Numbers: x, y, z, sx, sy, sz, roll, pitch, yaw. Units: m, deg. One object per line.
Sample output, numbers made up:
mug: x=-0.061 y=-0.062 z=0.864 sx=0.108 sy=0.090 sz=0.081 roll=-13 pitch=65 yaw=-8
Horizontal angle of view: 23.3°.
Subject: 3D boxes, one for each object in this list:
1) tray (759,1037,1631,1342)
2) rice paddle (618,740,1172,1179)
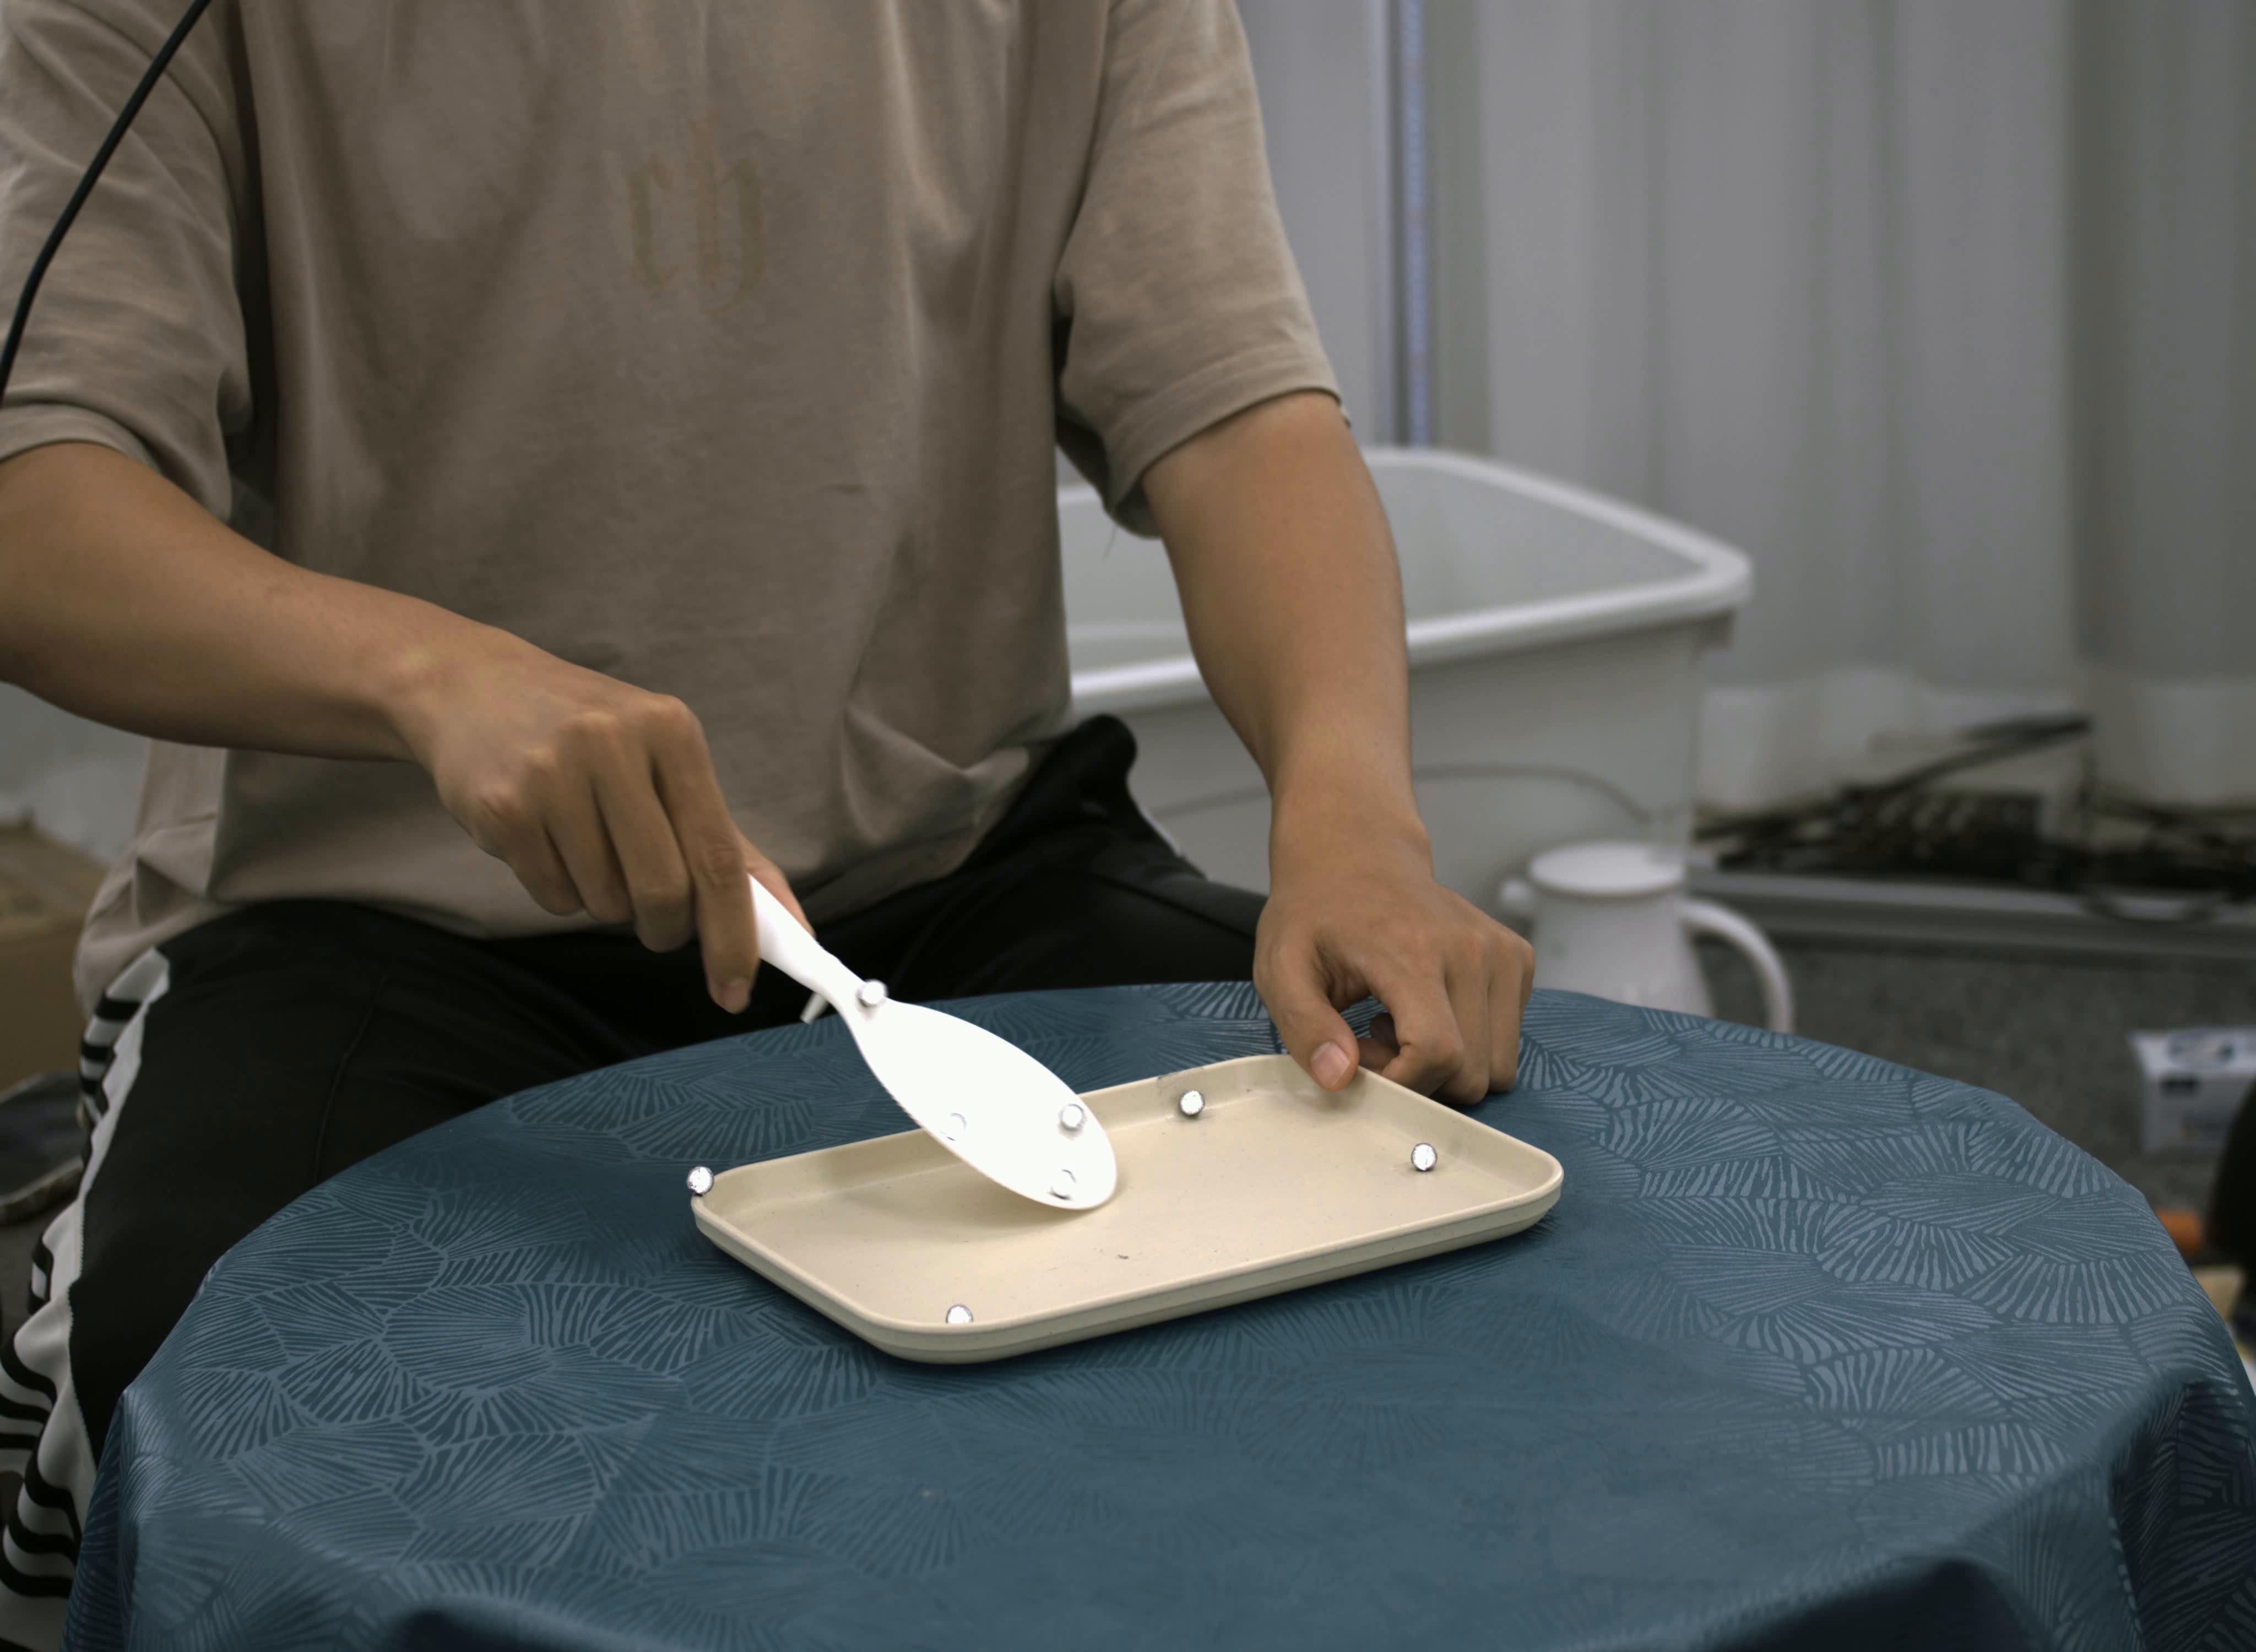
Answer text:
tray: x=0.020 y=0.111 z=1.675 sx=0.238 sy=0.017 sz=0.172 roll=-10 pitch=17 yaw=-28
rice paddle: x=-0.069 y=0.044 z=1.706 sx=0.205 sy=0.029 sz=0.069 roll=36 pitch=29 yaw=7
